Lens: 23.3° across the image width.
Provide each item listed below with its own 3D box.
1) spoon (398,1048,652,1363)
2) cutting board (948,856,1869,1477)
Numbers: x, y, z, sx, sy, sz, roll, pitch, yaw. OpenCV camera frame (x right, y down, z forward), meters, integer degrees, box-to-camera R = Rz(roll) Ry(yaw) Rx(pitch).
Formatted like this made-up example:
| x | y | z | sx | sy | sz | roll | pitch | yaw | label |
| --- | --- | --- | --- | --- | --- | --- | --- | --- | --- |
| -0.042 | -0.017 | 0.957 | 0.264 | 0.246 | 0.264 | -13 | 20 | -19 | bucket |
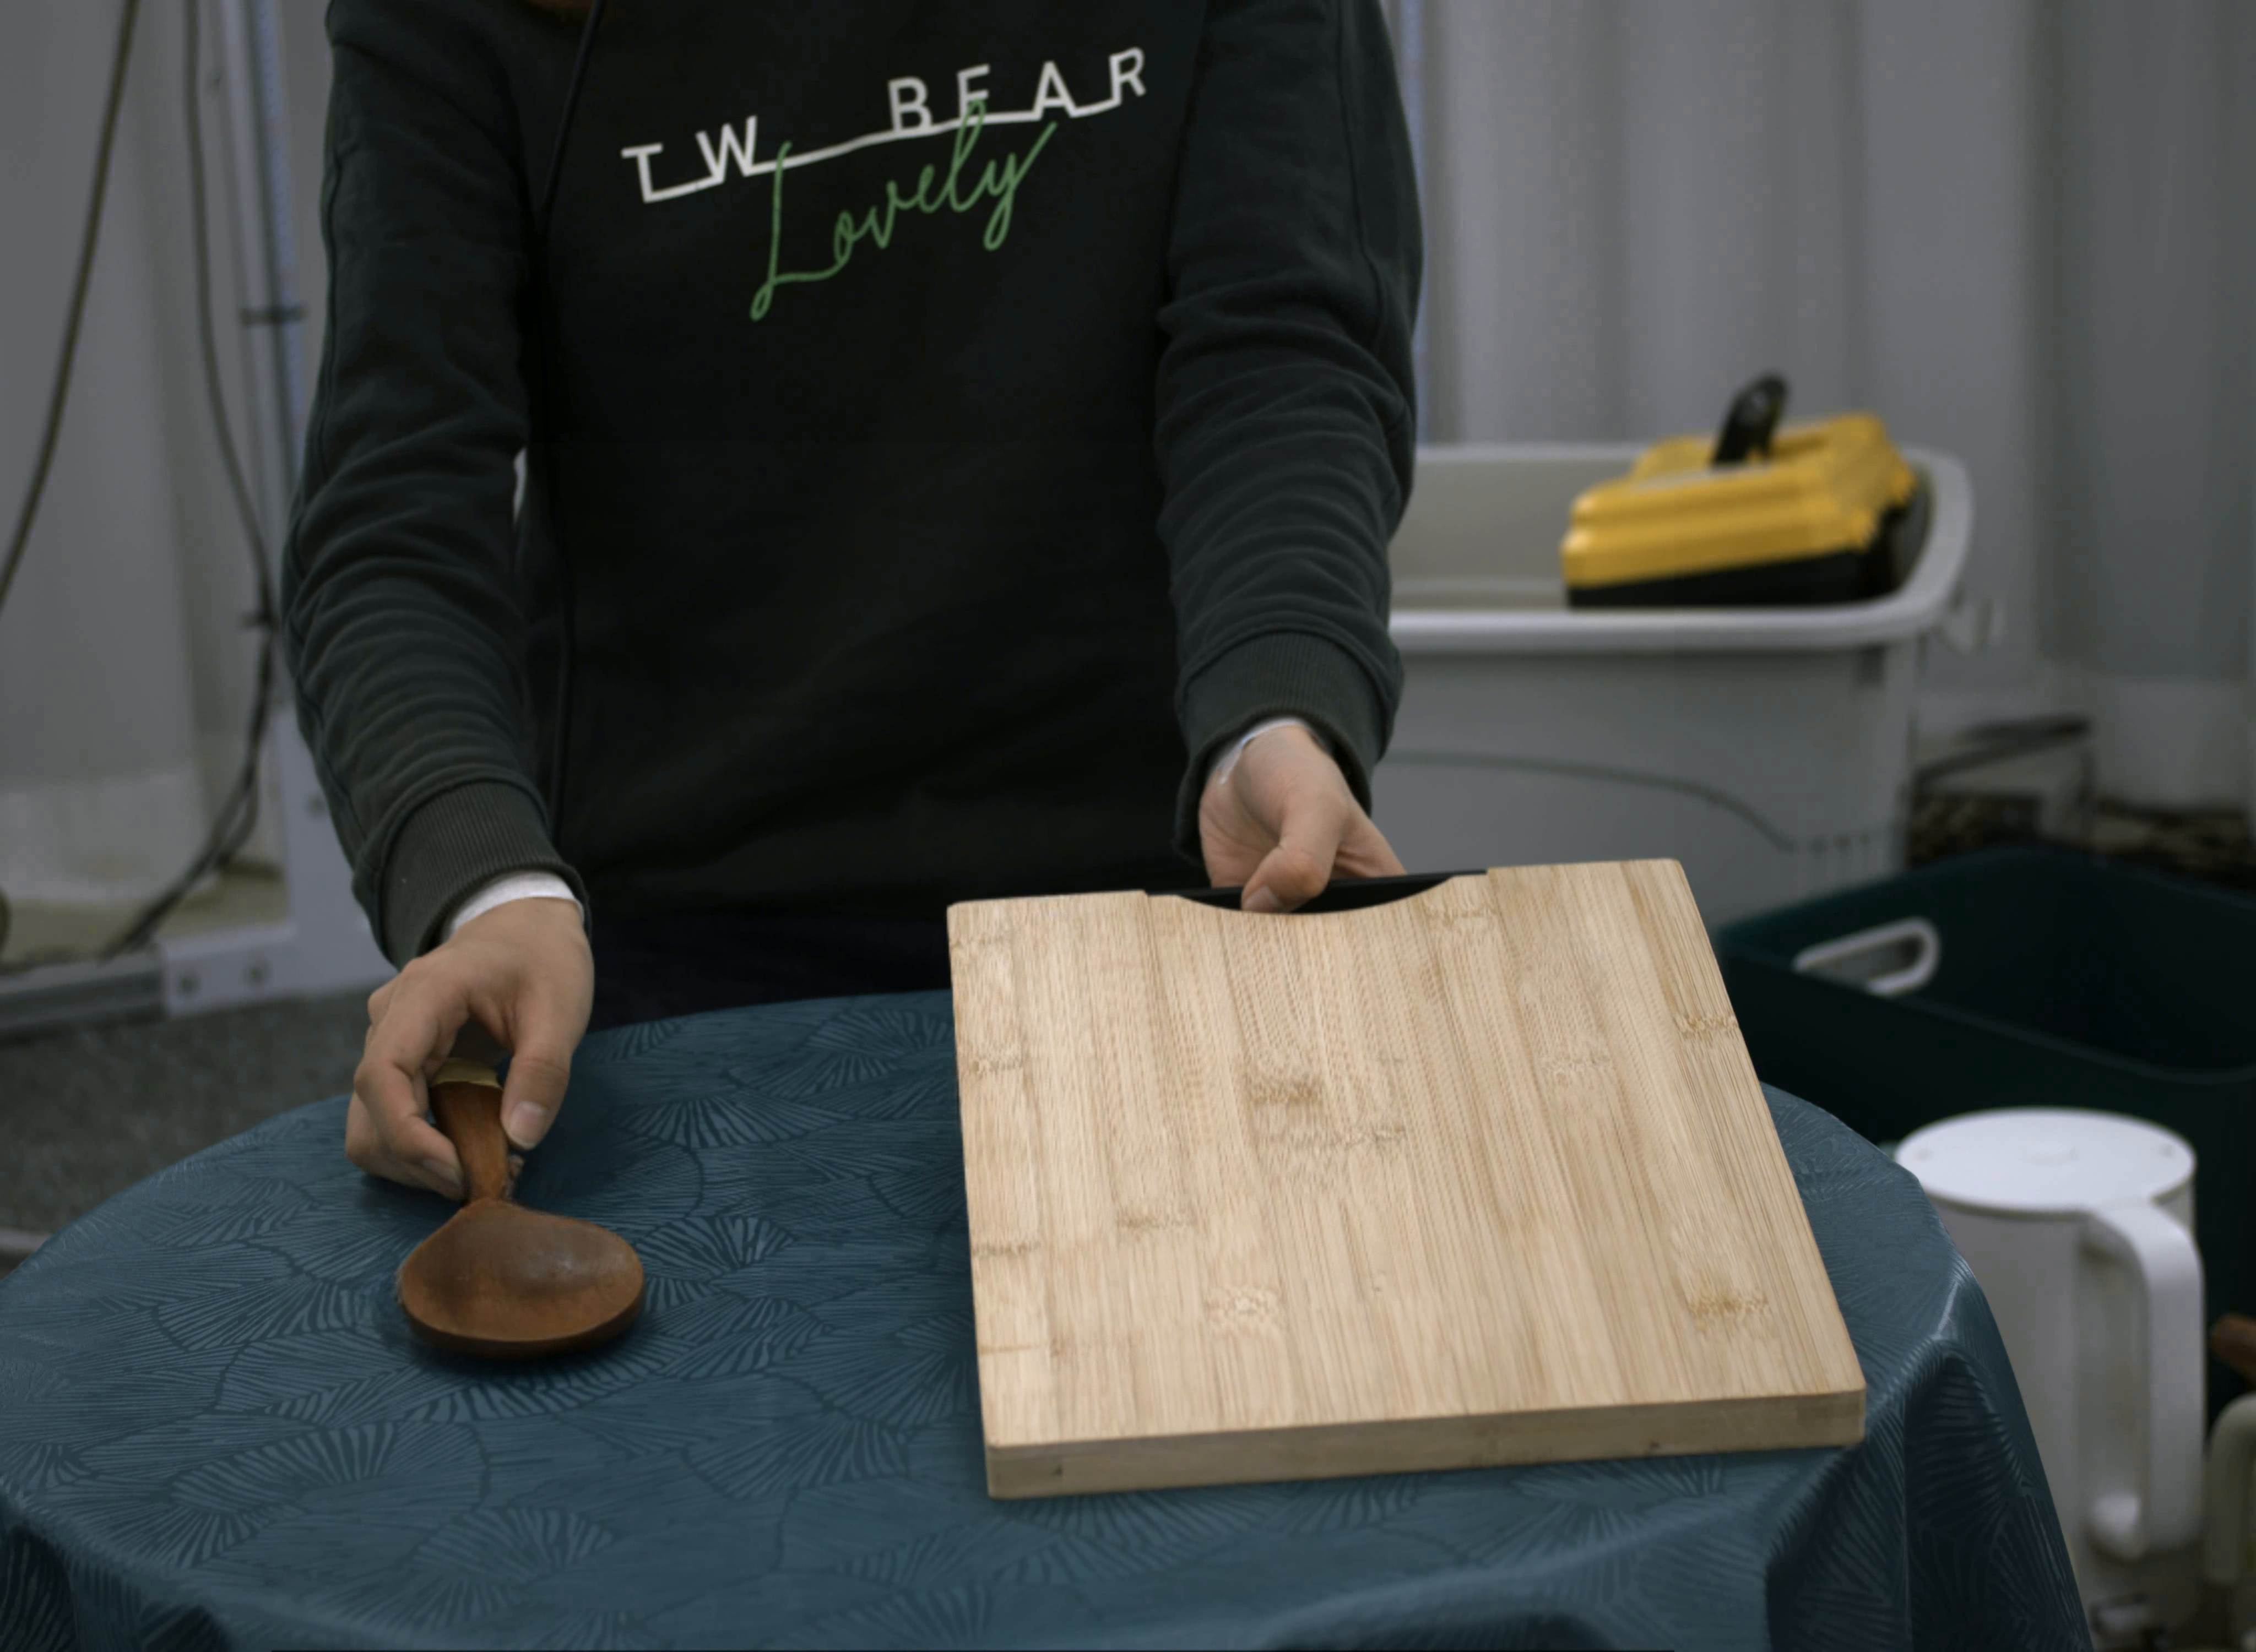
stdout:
| x | y | z | sx | sy | sz | roll | pitch | yaw | label |
| --- | --- | --- | --- | --- | --- | --- | --- | --- | --- |
| -0.192 | 0.117 | 1.676 | 0.075 | 0.017 | 0.218 | -8 | 23 | -10 | spoon |
| 0.071 | 0.095 | 1.631 | 0.250 | 0.023 | 0.352 | -3 | 24 | -3 | cutting board |
